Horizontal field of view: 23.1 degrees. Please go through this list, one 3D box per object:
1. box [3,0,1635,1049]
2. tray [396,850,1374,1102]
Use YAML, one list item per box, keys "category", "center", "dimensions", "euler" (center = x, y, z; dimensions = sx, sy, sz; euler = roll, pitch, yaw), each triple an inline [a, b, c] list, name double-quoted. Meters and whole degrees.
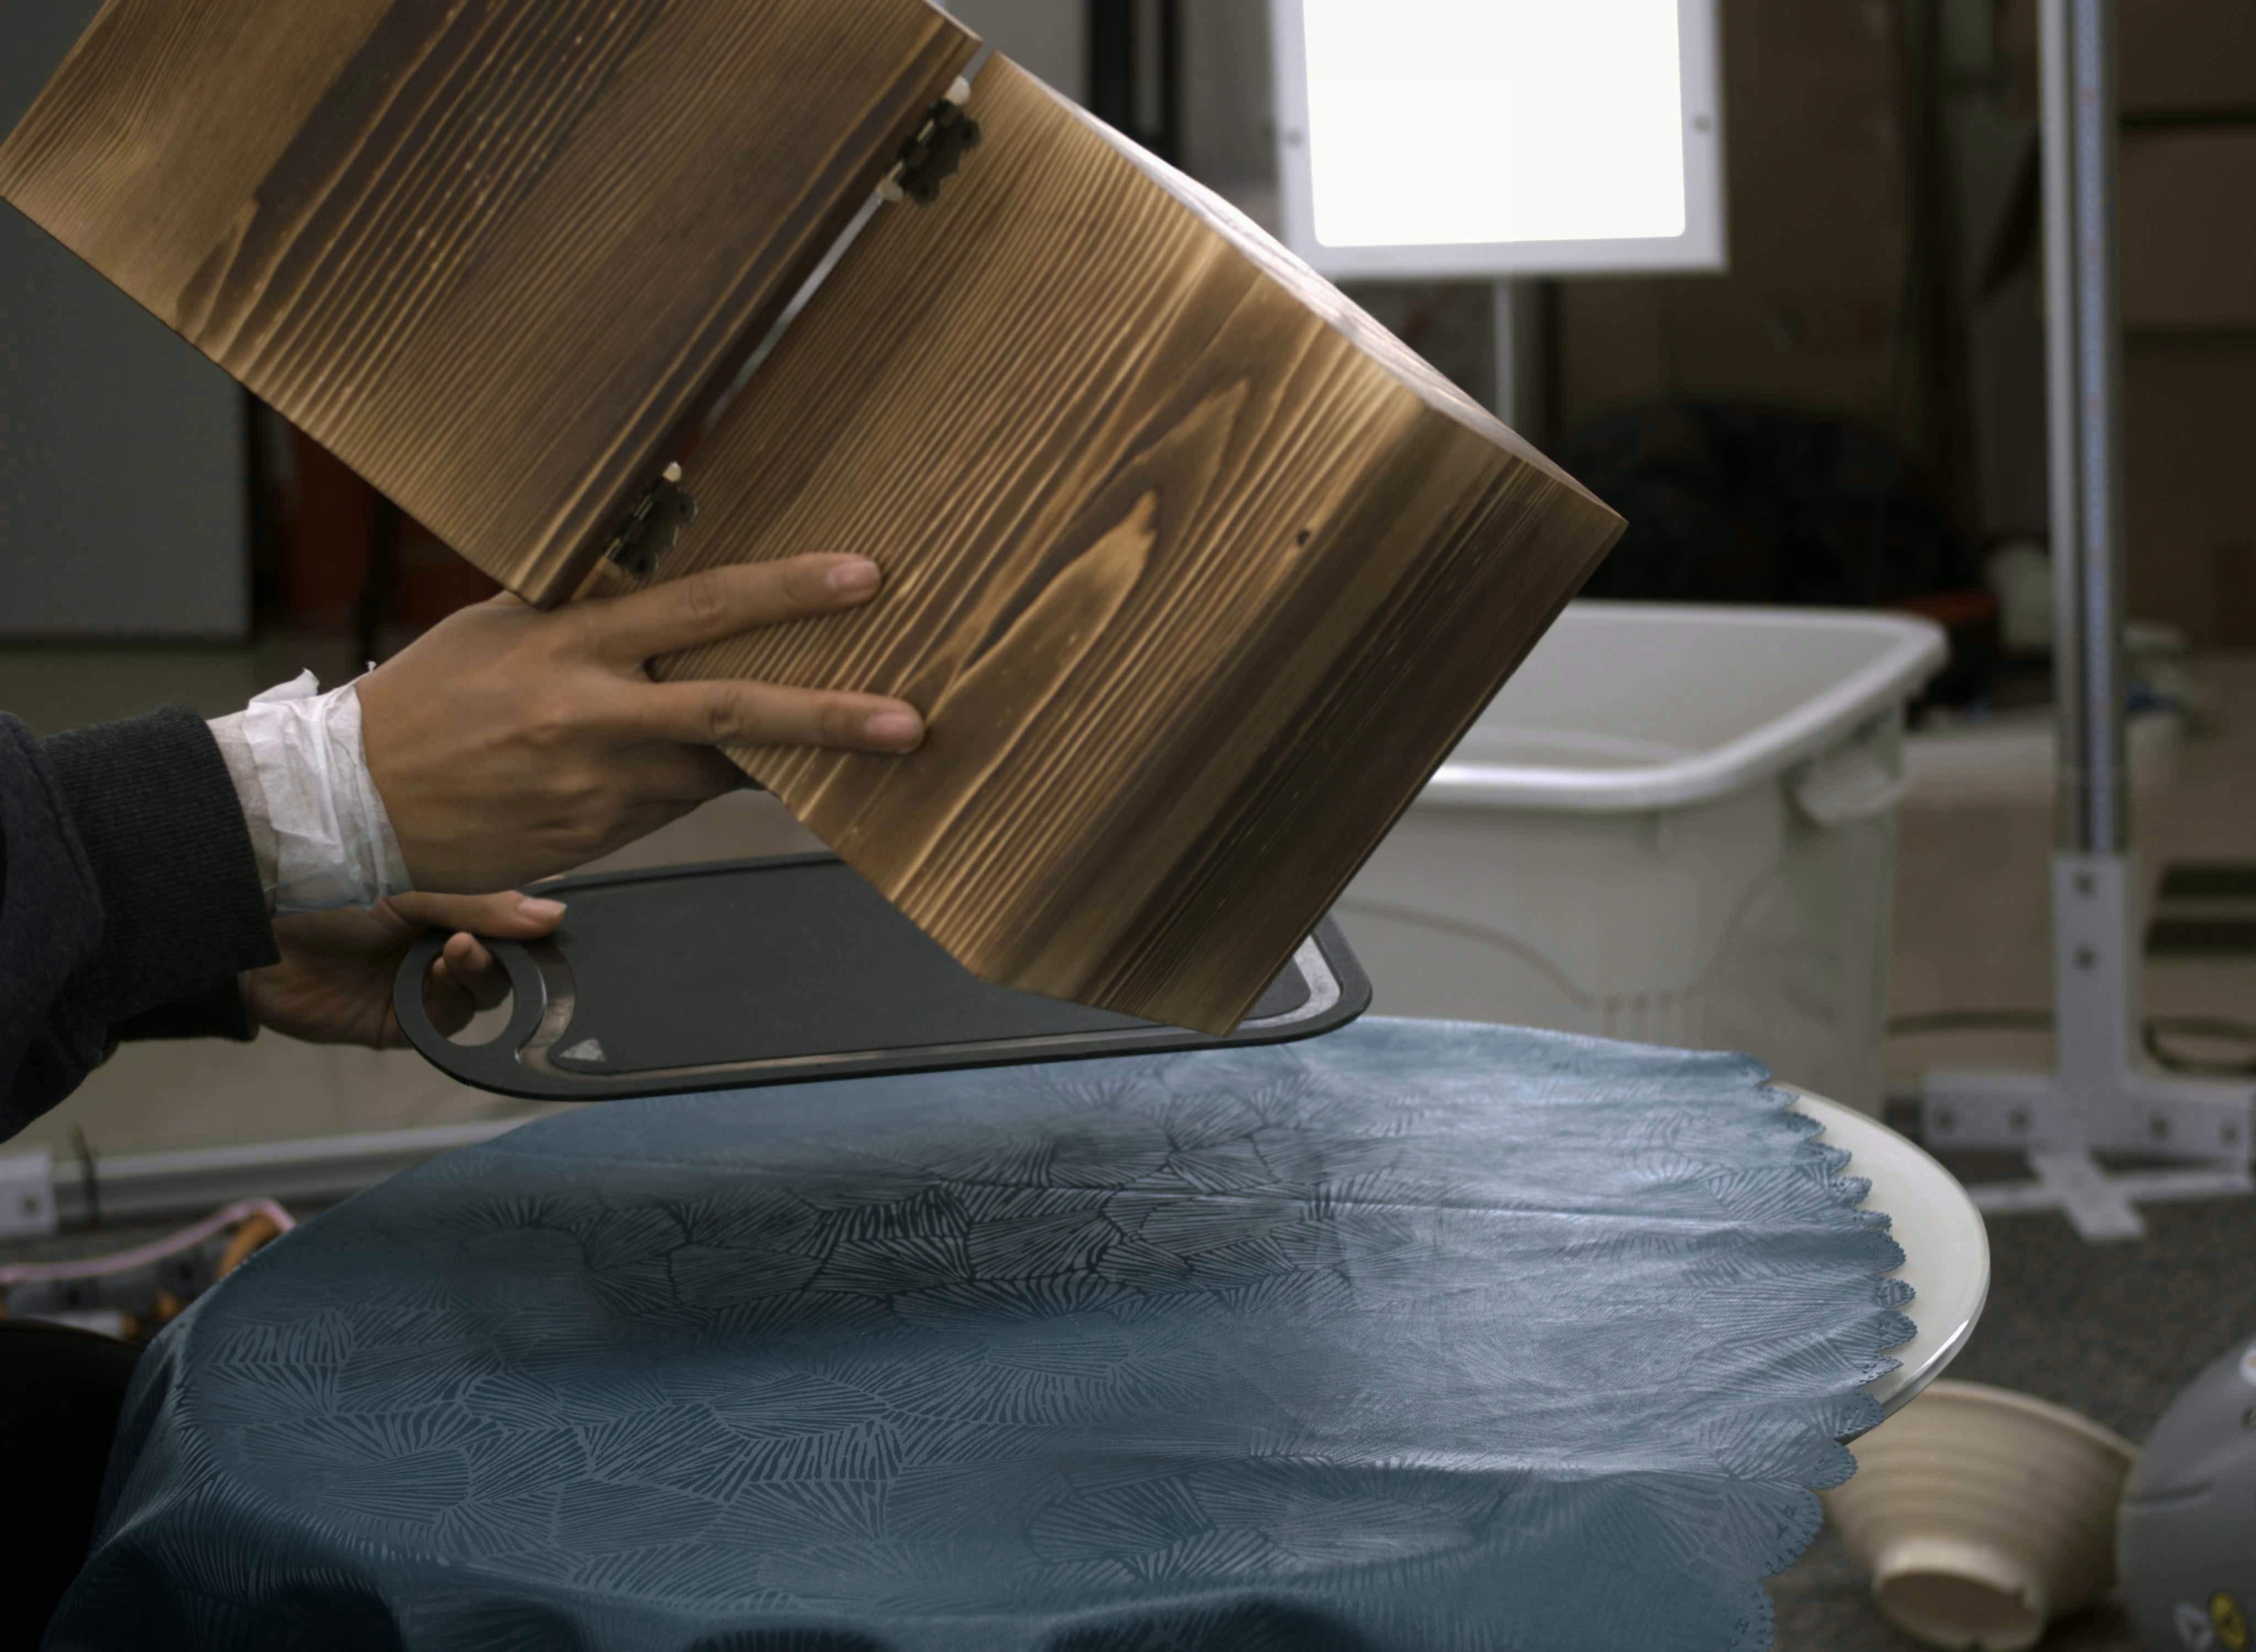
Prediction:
- category: "box"
  center: [-0.087, -0.144, 1.594]
  dimensions: [0.379, 0.210, 0.317]
  euler: [43, 9, 21]
- category: "tray"
  center: [-0.087, 0.044, 1.878]
  dimensions: [0.323, 0.010, 0.212]
  euler: [-5, 20, -7]
